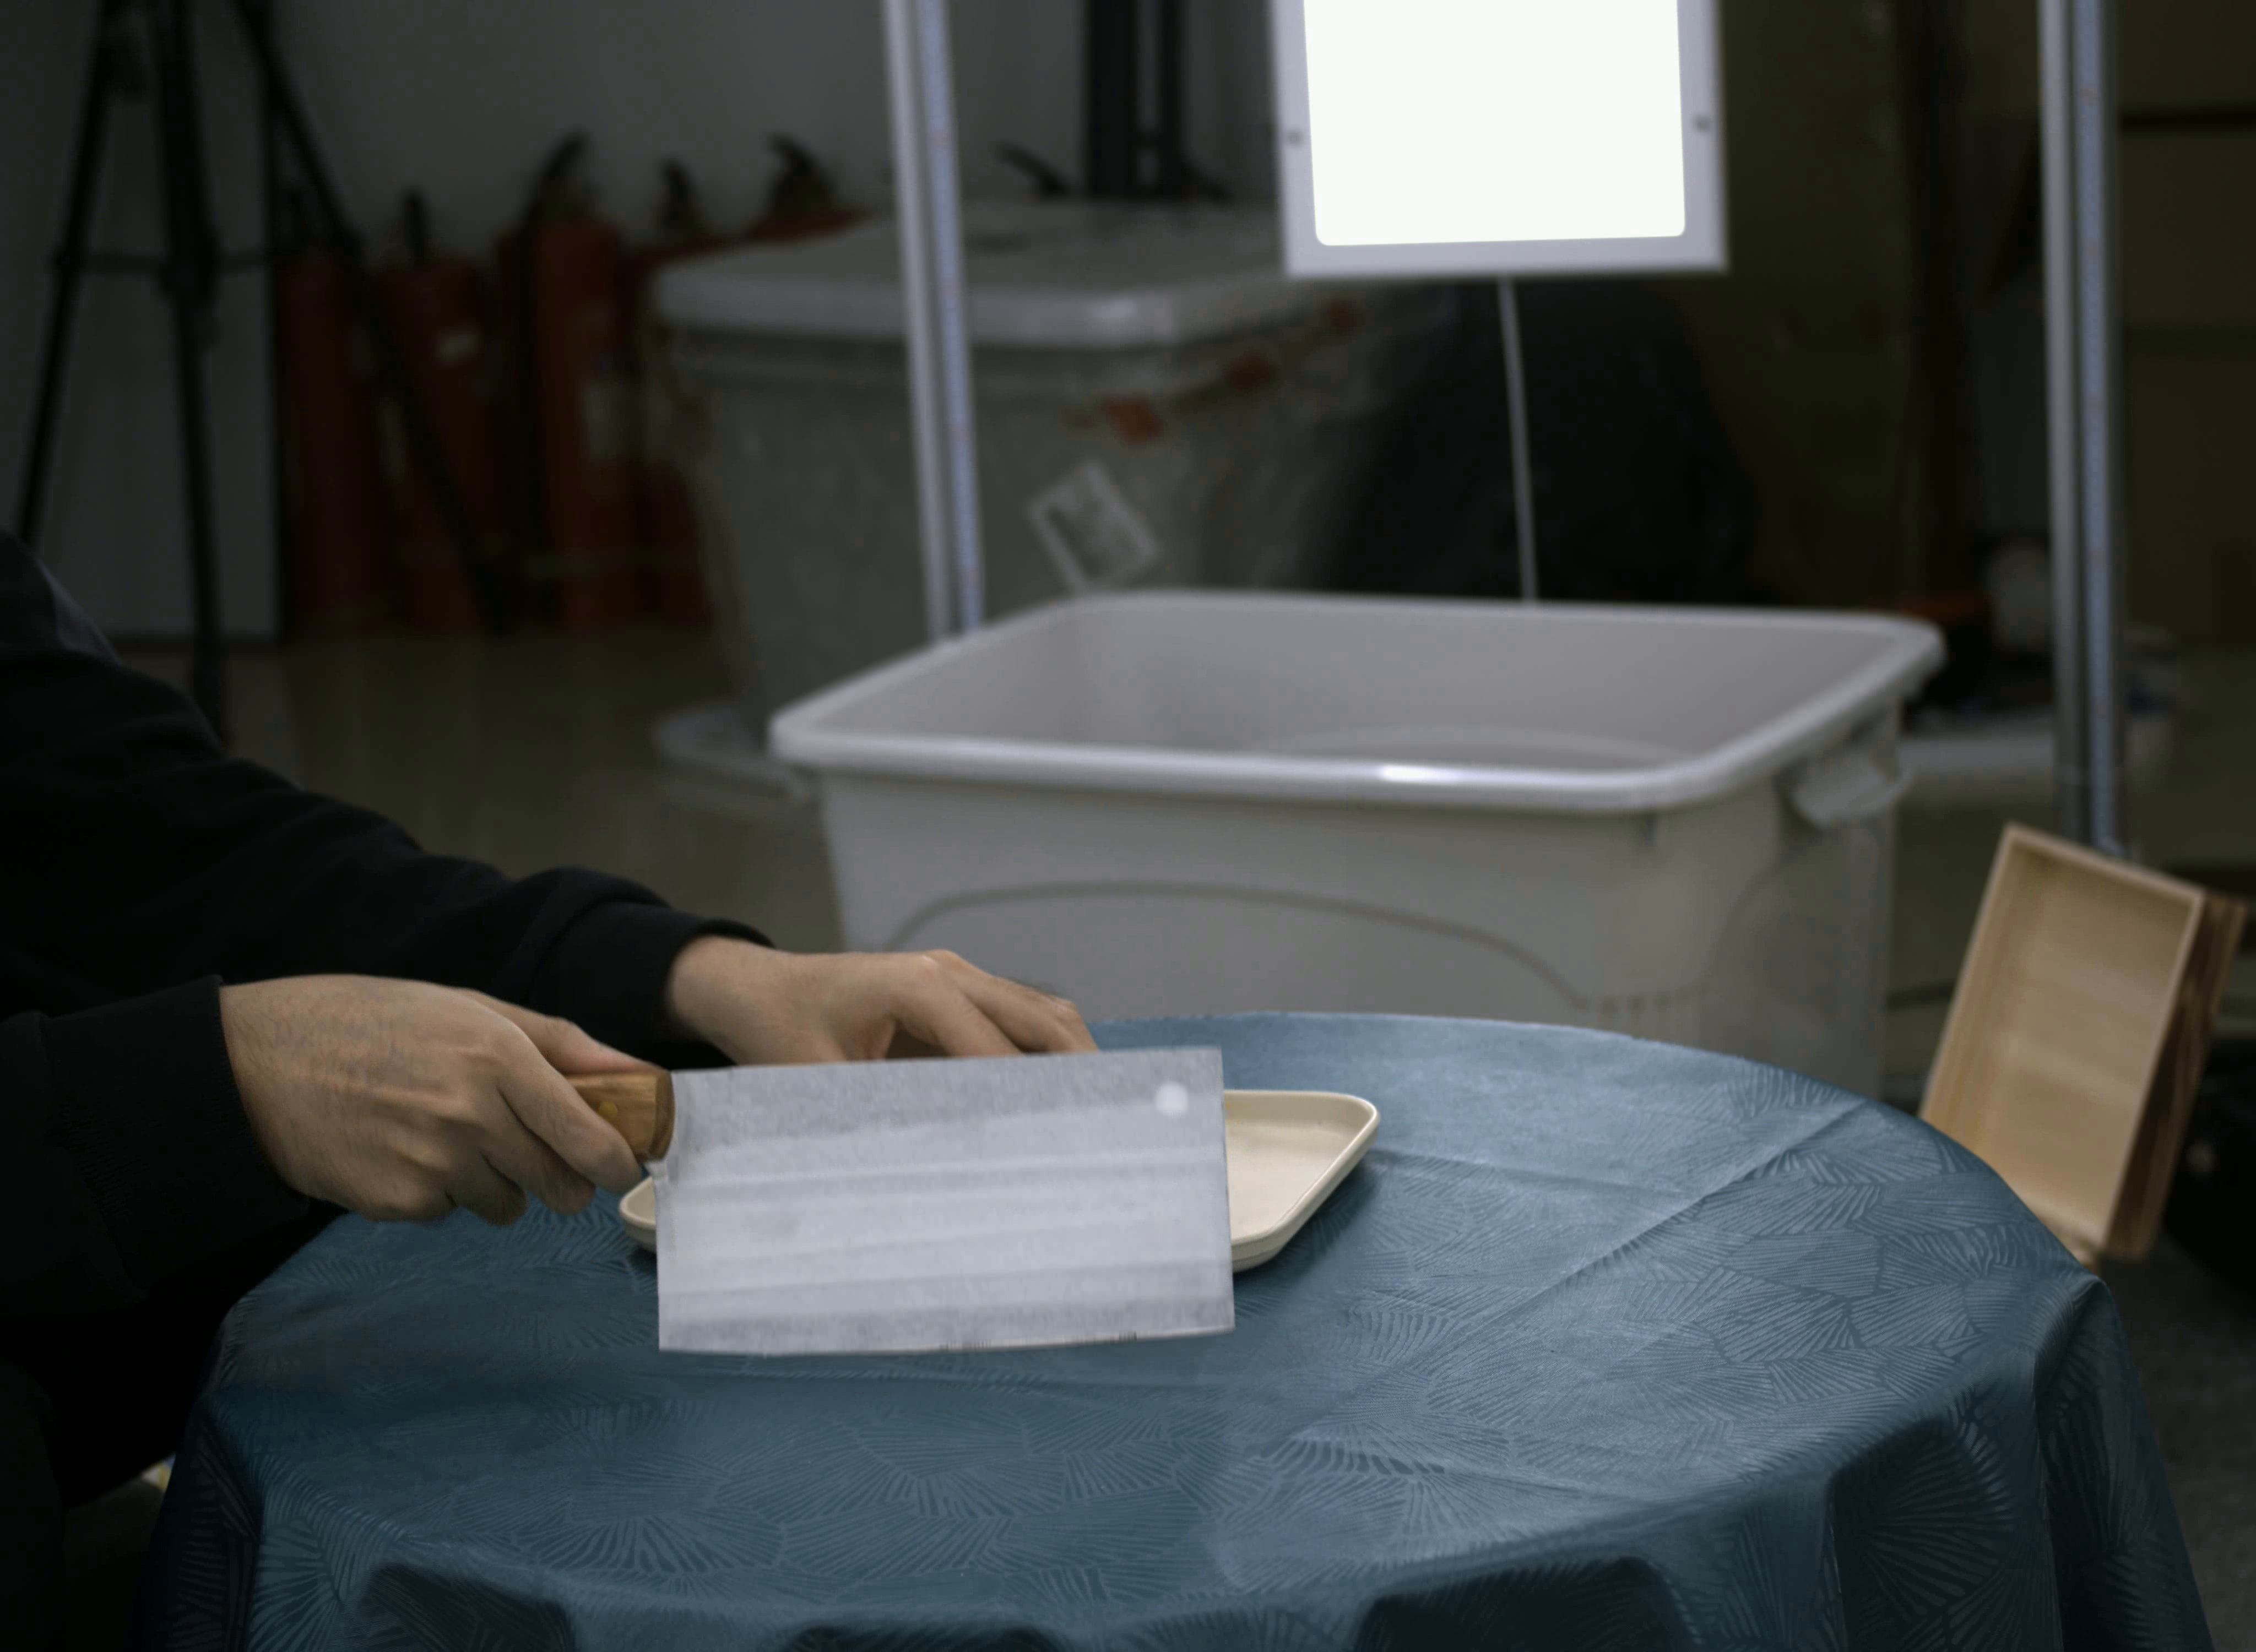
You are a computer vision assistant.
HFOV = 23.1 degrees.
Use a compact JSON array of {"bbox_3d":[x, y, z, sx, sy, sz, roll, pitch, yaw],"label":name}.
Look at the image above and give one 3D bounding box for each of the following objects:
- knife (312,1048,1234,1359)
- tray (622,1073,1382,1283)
[{"bbox_3d":[-0.115,0.121,1.745,0.309,0.093,0.021,-3,-4,17],"label":"knife"},{"bbox_3d":[-0.041,0.121,1.895,0.243,0.017,0.168,1,16,21],"label":"tray"}]
